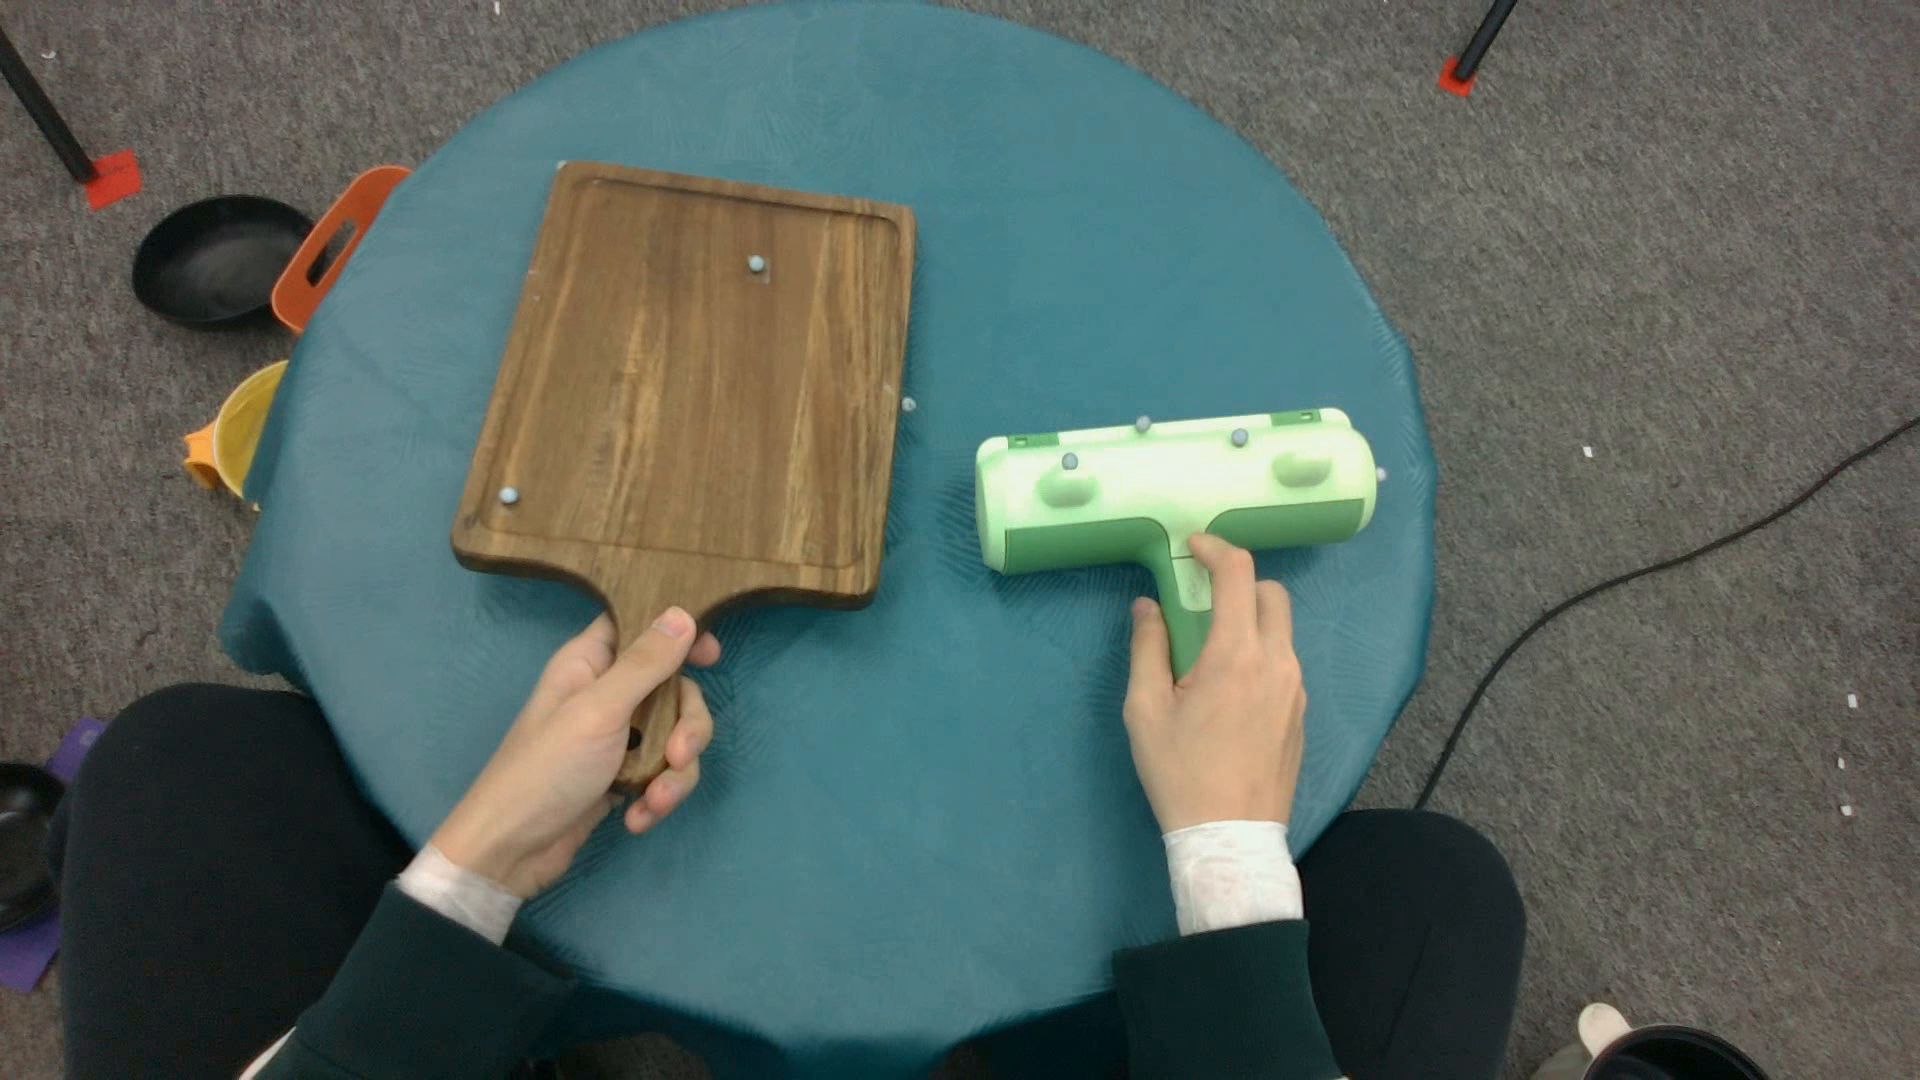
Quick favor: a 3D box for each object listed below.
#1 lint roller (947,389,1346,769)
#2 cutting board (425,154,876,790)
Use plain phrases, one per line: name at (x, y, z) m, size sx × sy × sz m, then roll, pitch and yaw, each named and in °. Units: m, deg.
lint roller at (0.102, 0.012, 0.659) m, size 0.199 × 0.082 × 0.184 m, roll -6°, pitch 61°, yaw -7°
cutting board at (-0.146, -0.049, 0.673) m, size 0.201 × 0.023 × 0.353 m, roll 4°, pitch 60°, yaw -5°
